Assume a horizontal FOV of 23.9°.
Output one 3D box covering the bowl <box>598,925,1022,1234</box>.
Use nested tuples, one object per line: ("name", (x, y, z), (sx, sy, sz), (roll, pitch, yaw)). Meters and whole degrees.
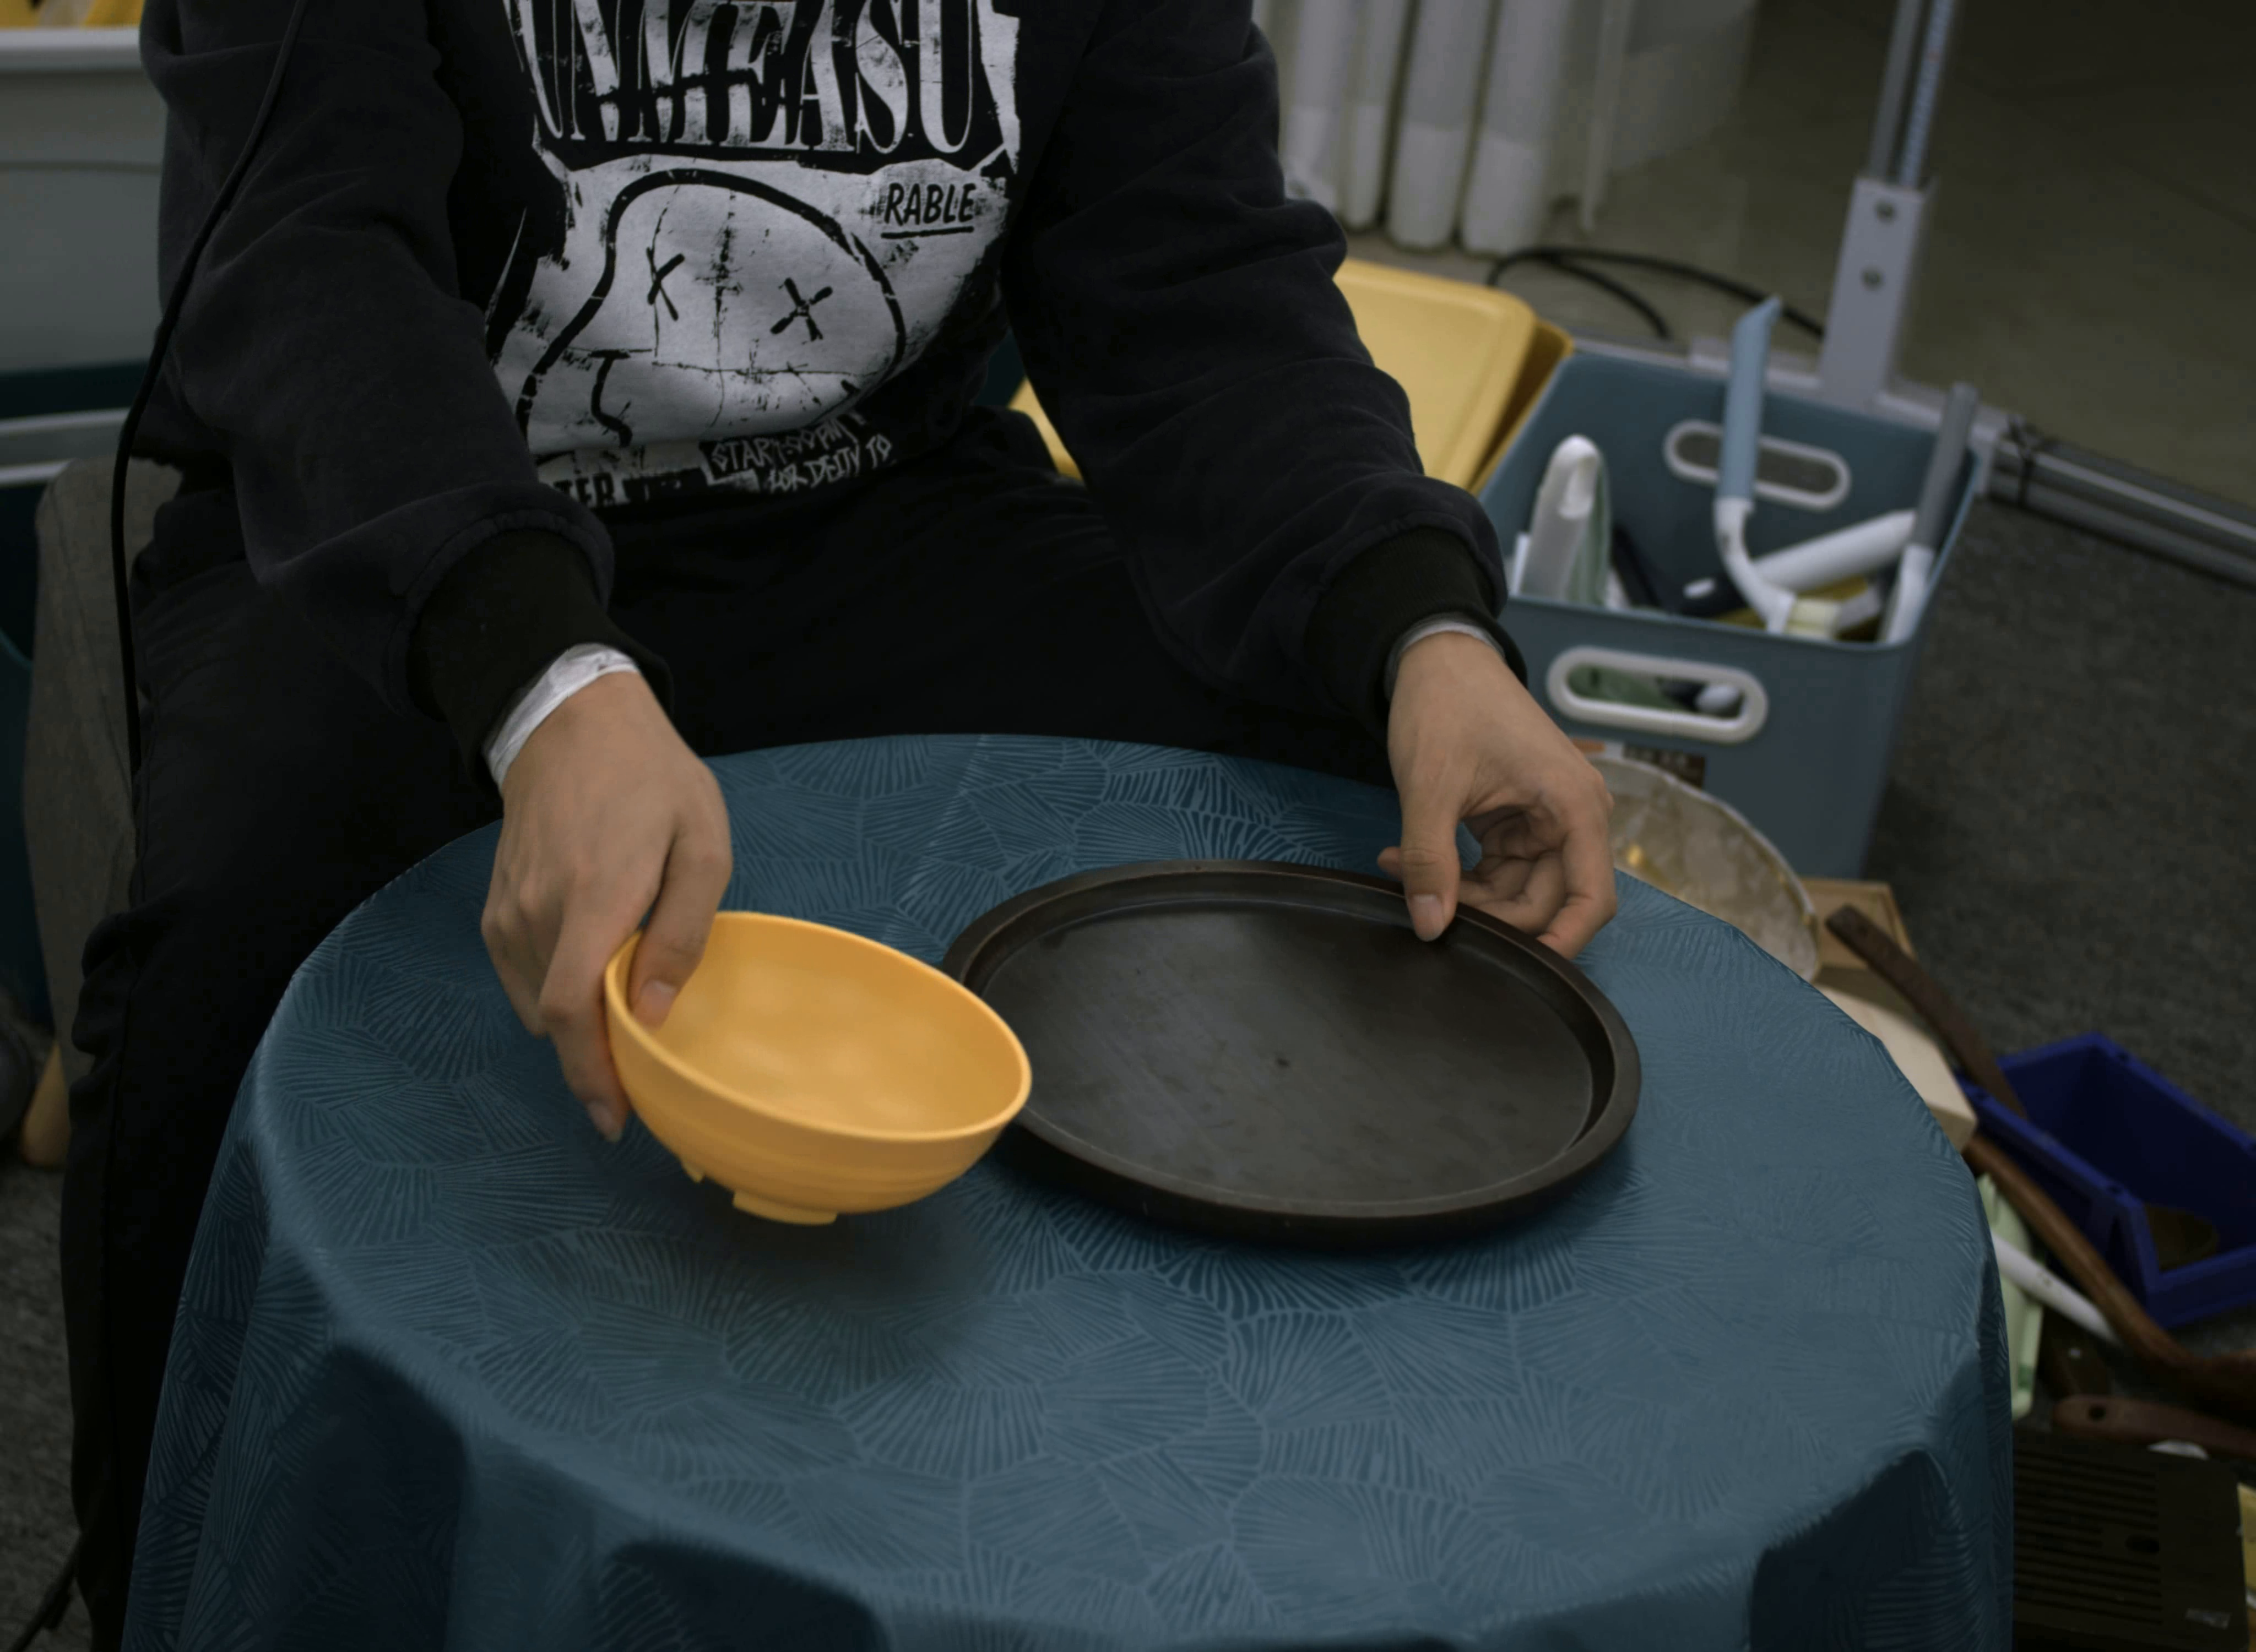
("bowl", (-0.111, 0.092, 1.749), (0.145, 0.060, 0.146), (15, 22, -6))

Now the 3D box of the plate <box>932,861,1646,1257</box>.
("plate", (0.056, 0.080, 1.874), (0.254, 0.029, 0.256), (4, 26, -2))
